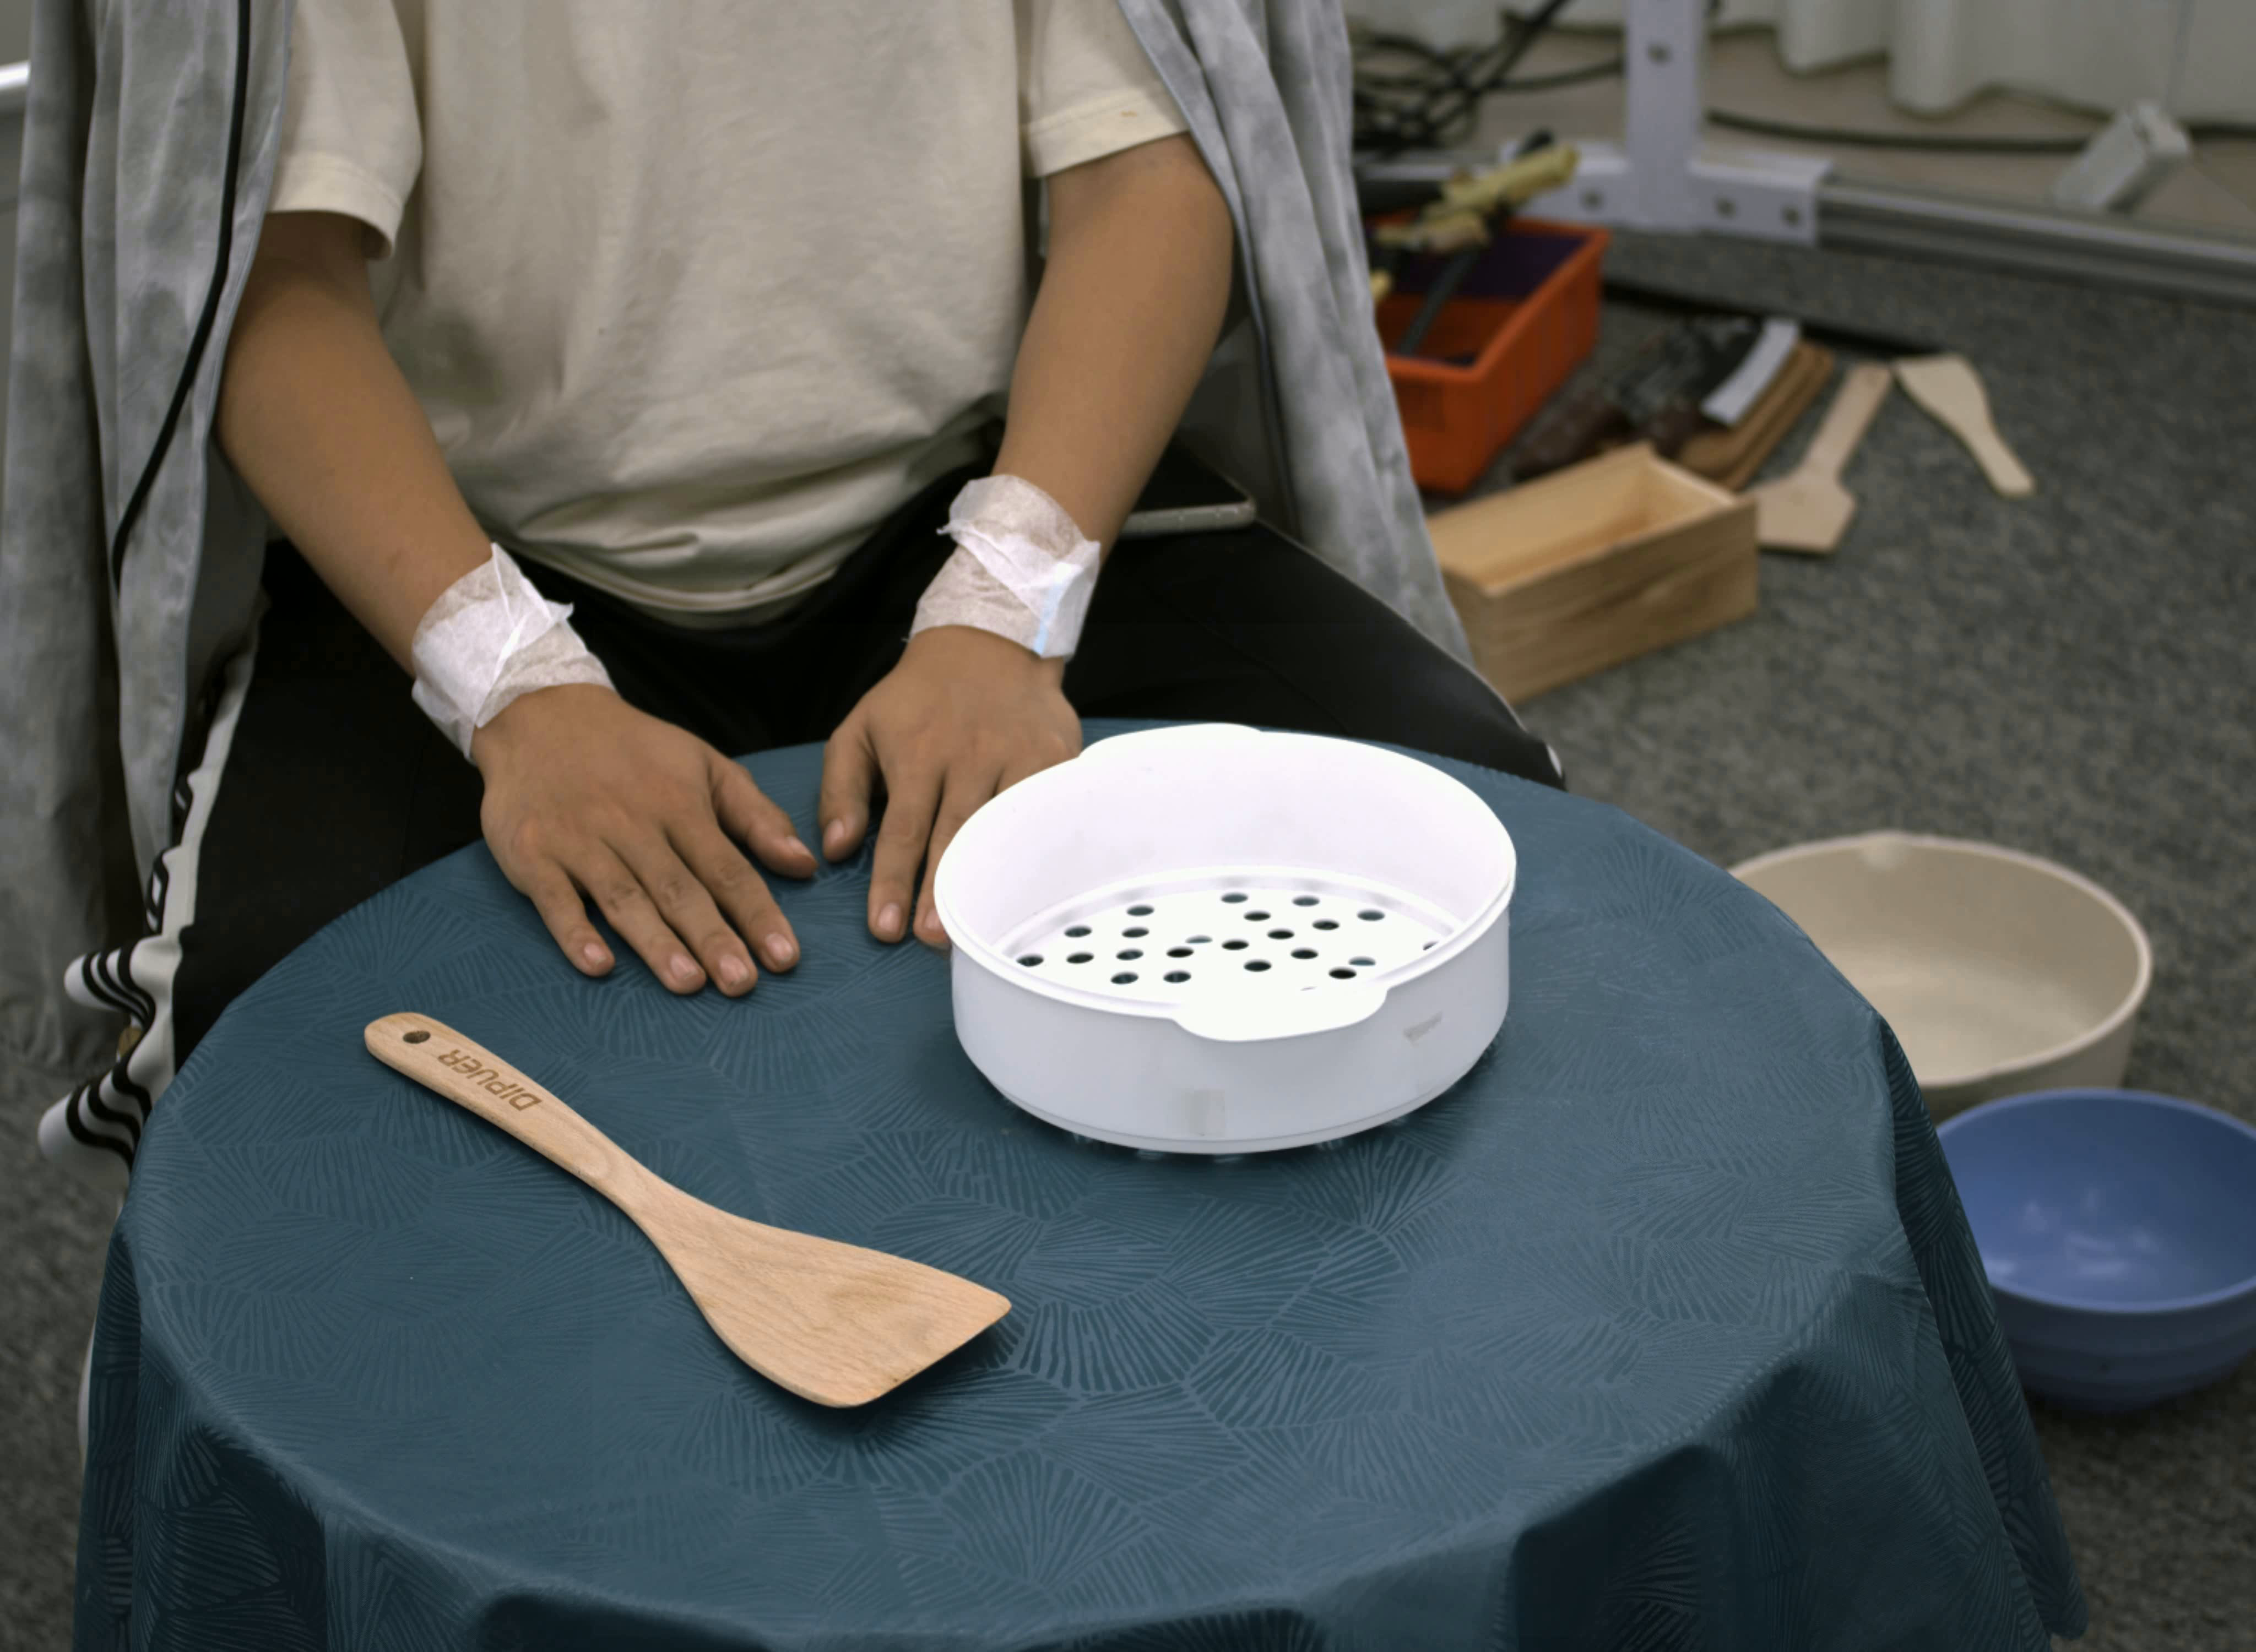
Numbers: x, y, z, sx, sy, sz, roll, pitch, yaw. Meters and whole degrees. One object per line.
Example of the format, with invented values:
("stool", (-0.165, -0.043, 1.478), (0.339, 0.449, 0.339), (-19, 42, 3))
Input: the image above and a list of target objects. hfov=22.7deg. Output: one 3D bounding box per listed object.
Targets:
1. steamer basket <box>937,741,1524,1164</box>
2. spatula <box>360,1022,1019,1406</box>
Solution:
("steamer basket", (0.036, 0.045, 1.936), (0.201, 0.068, 0.233), (-6, 26, -8))
("spatula", (-0.158, 0.121, 1.858), (0.081, 0.016, 0.327), (-22, 33, -34))
